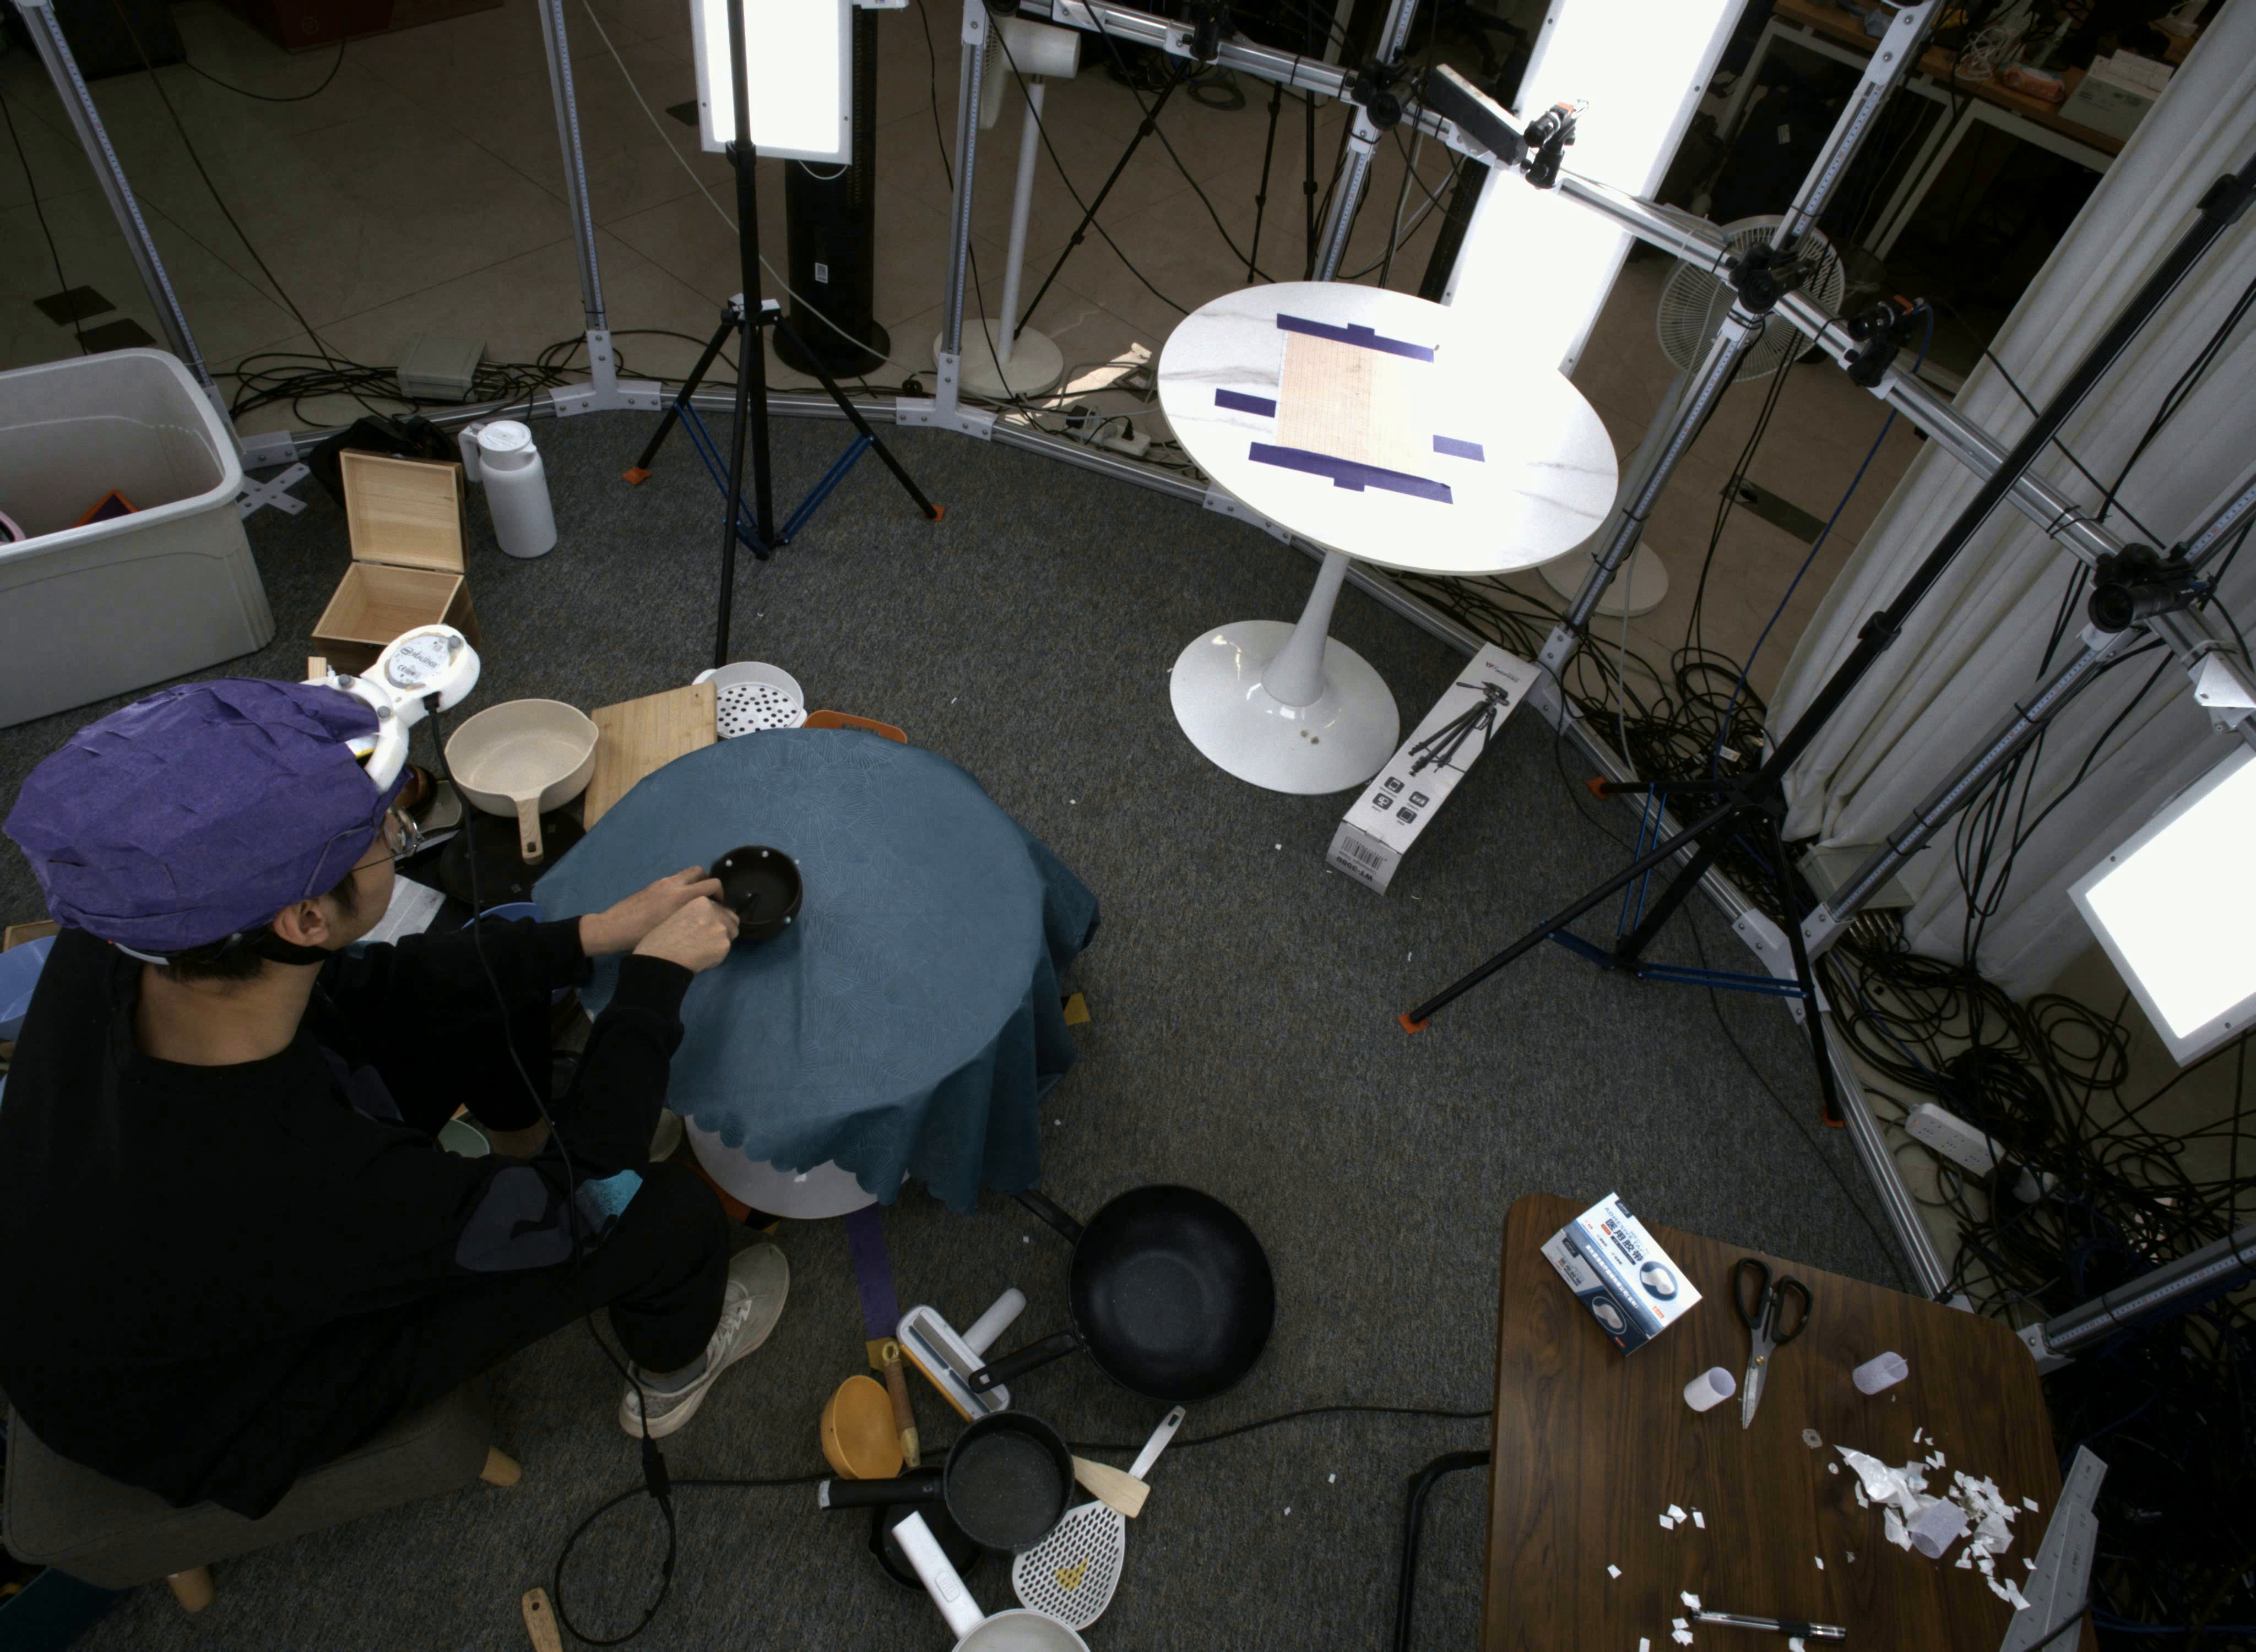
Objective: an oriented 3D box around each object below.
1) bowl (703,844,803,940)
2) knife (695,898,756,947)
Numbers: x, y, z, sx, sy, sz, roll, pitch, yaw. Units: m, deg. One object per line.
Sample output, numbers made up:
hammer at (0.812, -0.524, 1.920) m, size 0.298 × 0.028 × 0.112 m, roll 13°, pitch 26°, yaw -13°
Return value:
bowl at (-0.459, 0.087, 1.589) m, size 0.118 × 0.071 × 0.116 m, roll 7°, pitch 54°, yaw -8°
knife at (-0.464, 0.104, 1.505) m, size 0.017 × 0.026 × 0.223 m, roll 13°, pitch 9°, yaw -2°
